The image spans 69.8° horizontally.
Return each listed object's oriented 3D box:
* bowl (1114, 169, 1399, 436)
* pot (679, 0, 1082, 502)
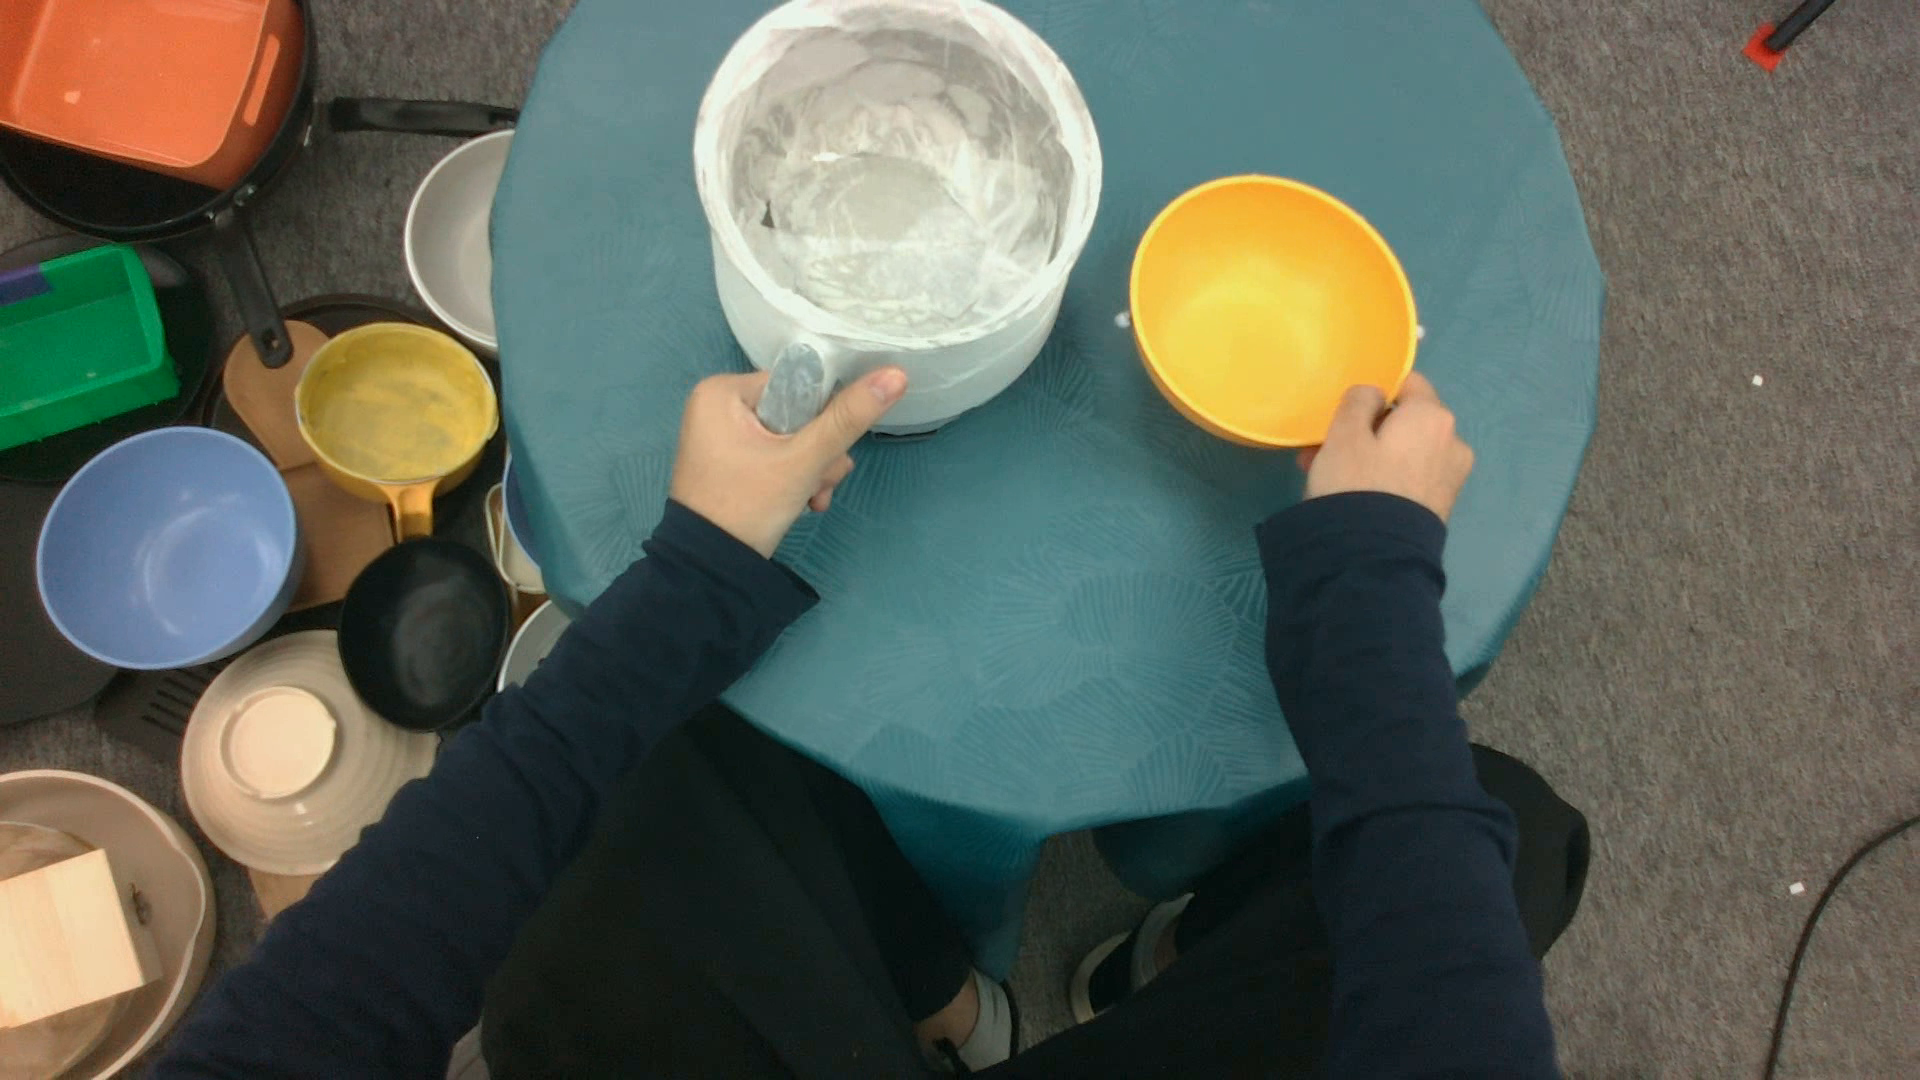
[{"bbox_3d":[0.142,-0.110,0.698,0.145,0.060,0.146,3,71,-9],"label":"bowl"},{"bbox_3d":[-0.050,-0.132,0.657,0.179,0.136,0.234,23,76,0],"label":"pot"}]
